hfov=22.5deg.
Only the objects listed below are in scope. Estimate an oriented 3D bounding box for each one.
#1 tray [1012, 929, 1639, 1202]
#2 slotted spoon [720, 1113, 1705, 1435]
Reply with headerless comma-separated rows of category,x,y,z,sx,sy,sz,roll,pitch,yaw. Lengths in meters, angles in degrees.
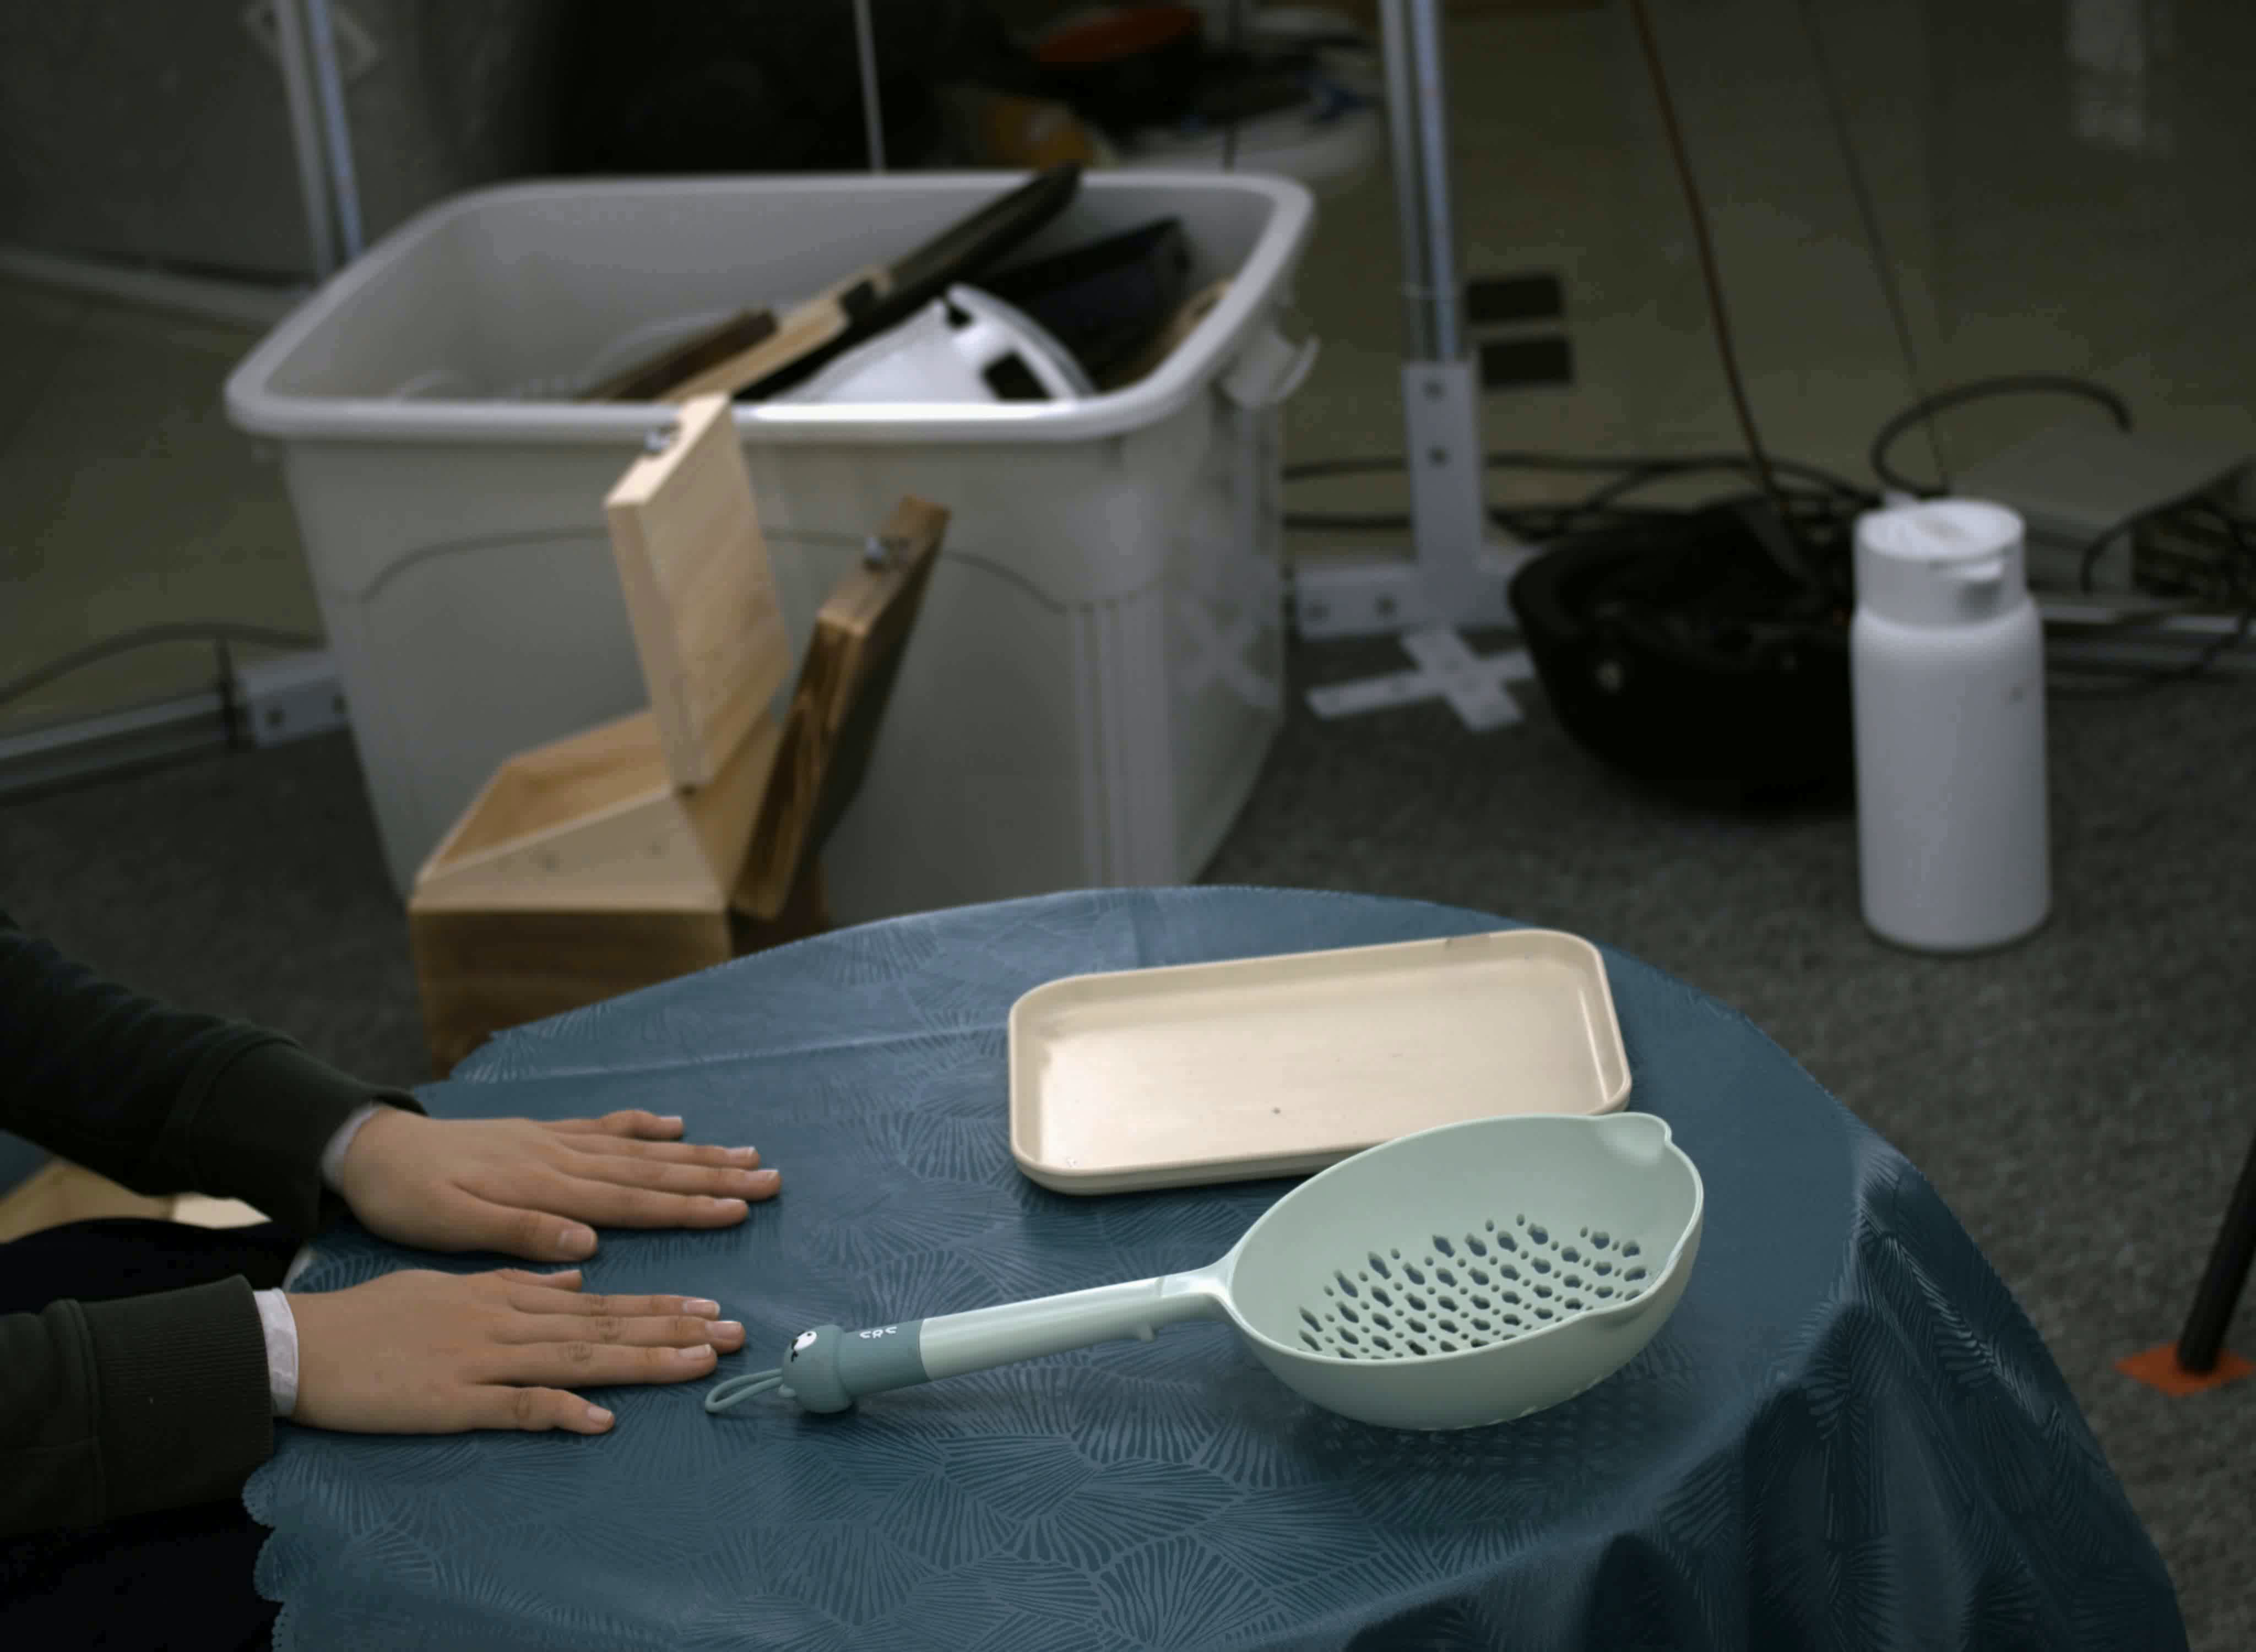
tray,0.075,0.094,2.212,0.239,0.018,0.169,-7,25,1
slotted spoon,0.026,0.172,2.001,0.358,0.076,0.167,-3,24,8
